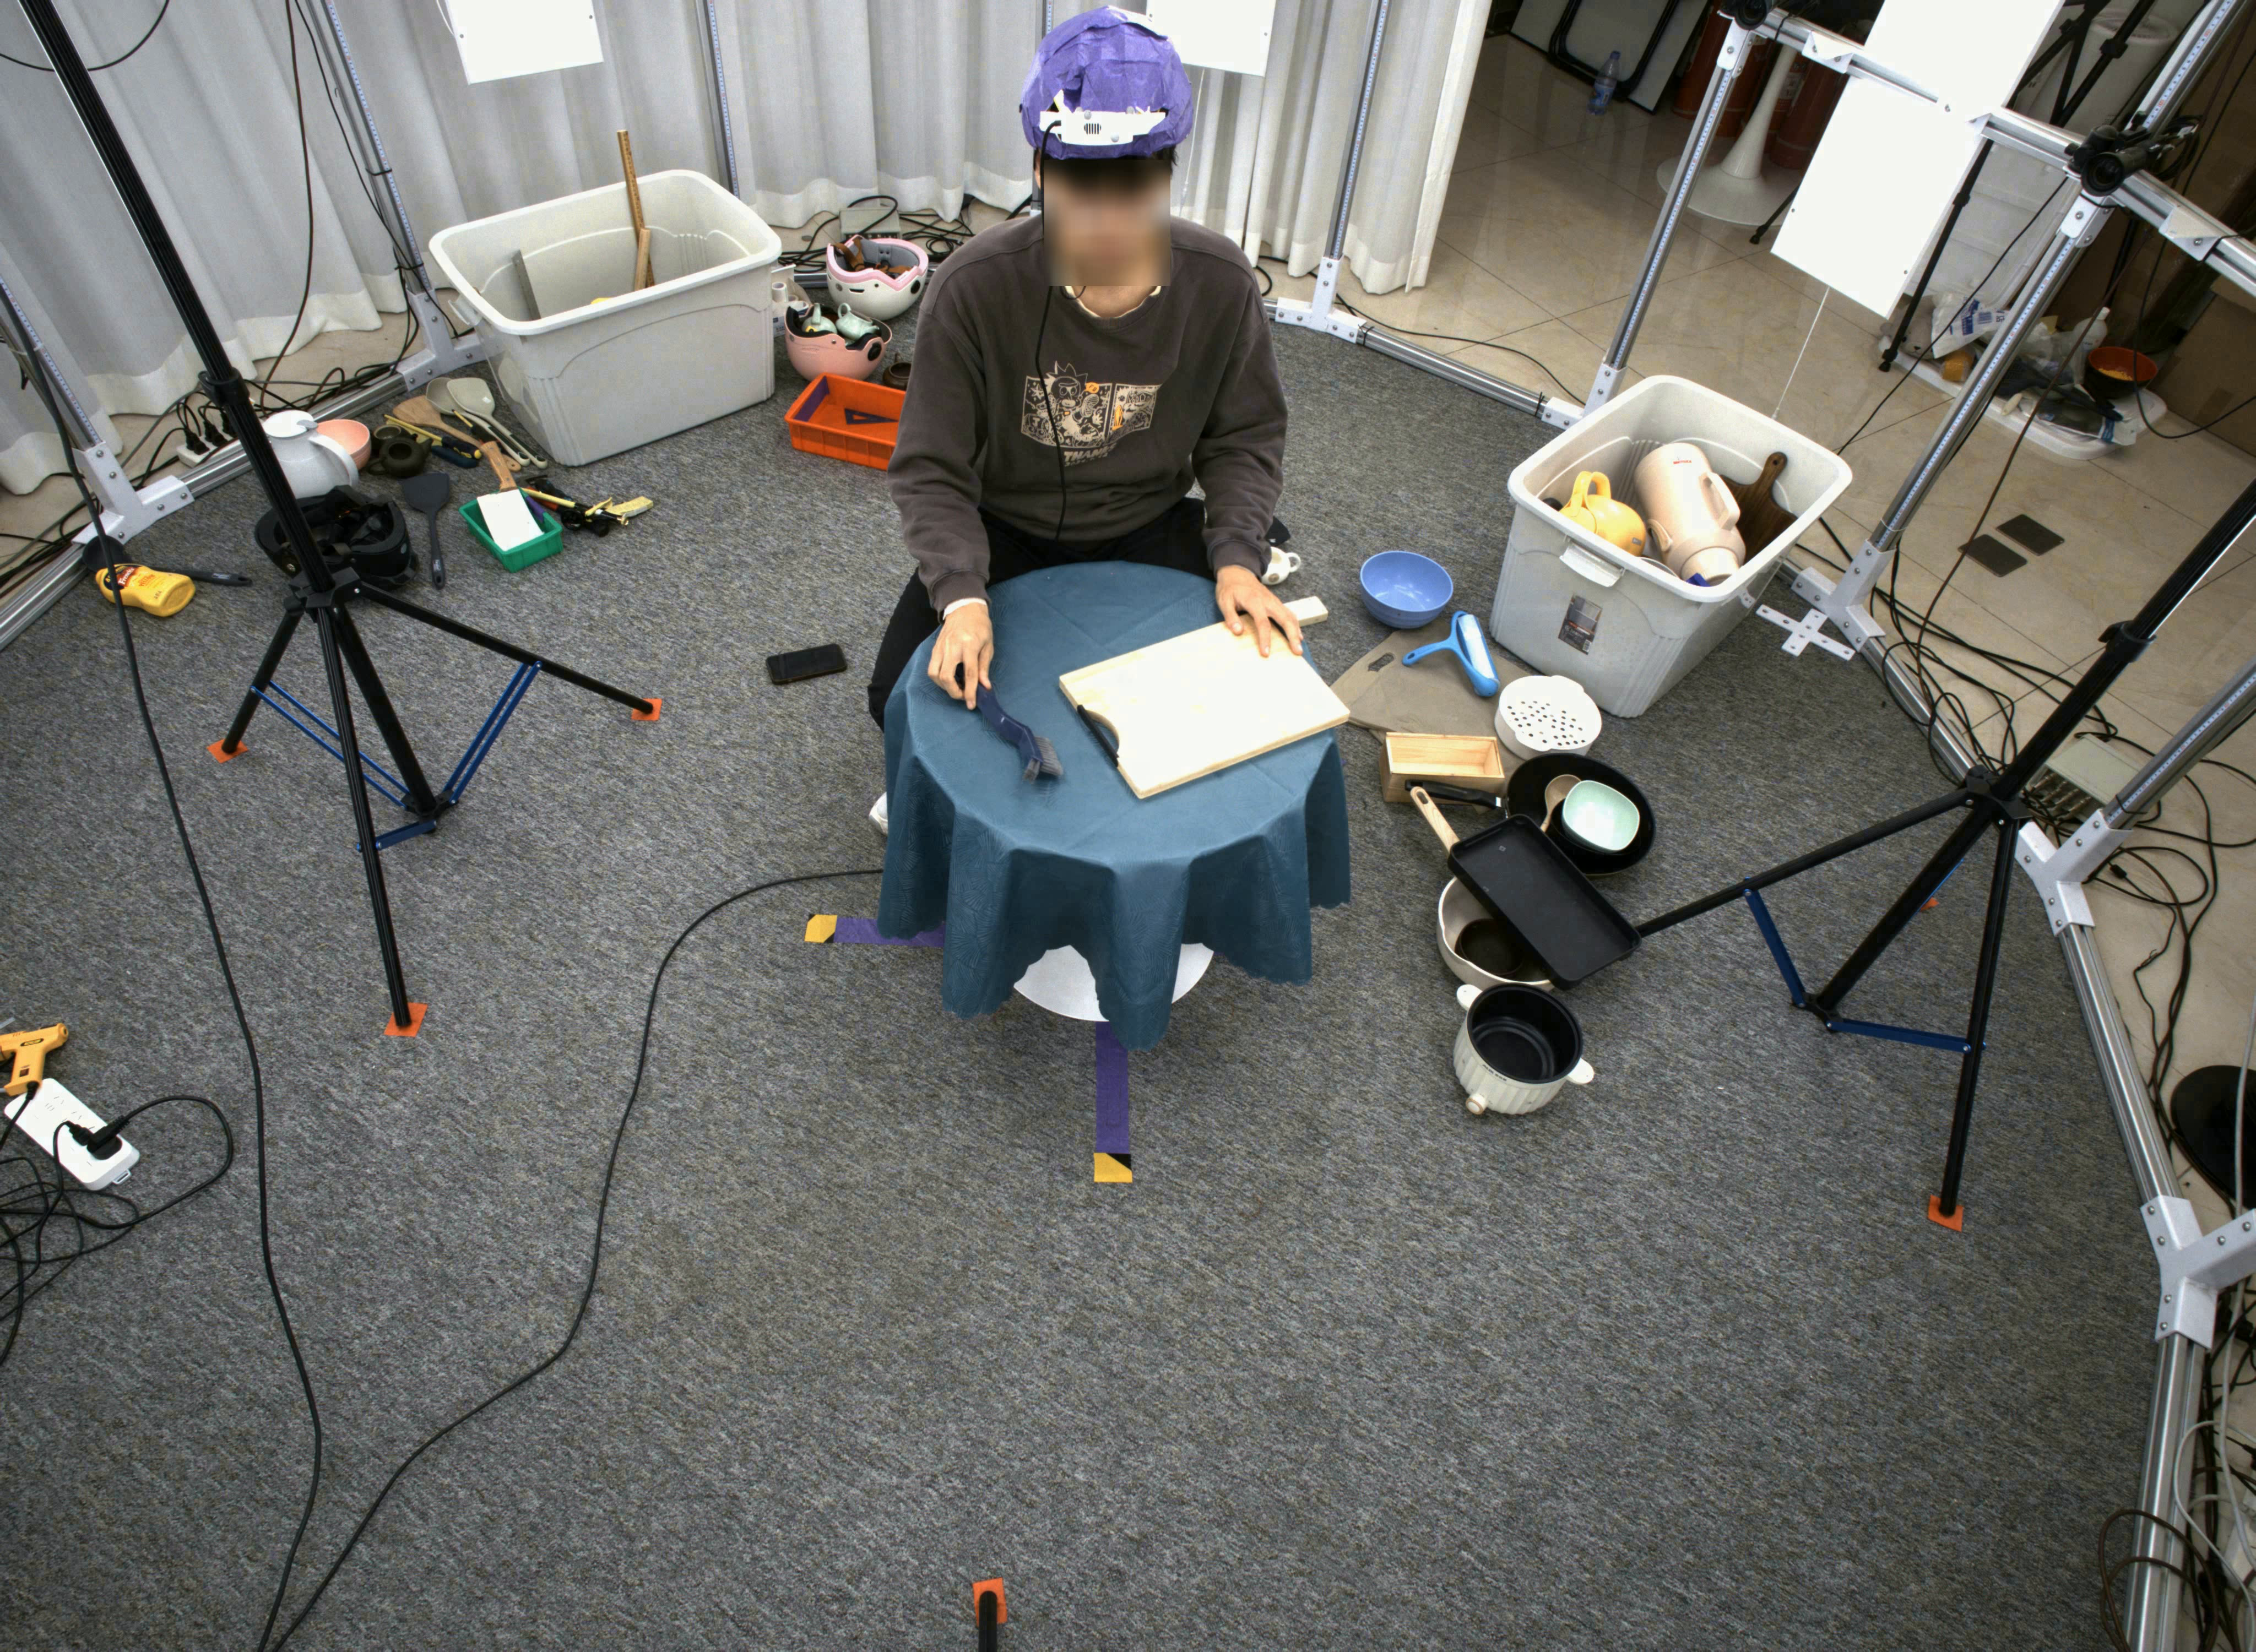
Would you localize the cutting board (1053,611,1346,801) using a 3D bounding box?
[{"bbox_3d":[0.102,-0.178,1.816,0.349,0.023,0.256,-21,53,-21],"label":"cutting board"}]

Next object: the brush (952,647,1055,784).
[{"bbox_3d":[-0.186,-0.155,1.757,0.095,0.033,0.278,-8,44,-45],"label":"brush"}]
